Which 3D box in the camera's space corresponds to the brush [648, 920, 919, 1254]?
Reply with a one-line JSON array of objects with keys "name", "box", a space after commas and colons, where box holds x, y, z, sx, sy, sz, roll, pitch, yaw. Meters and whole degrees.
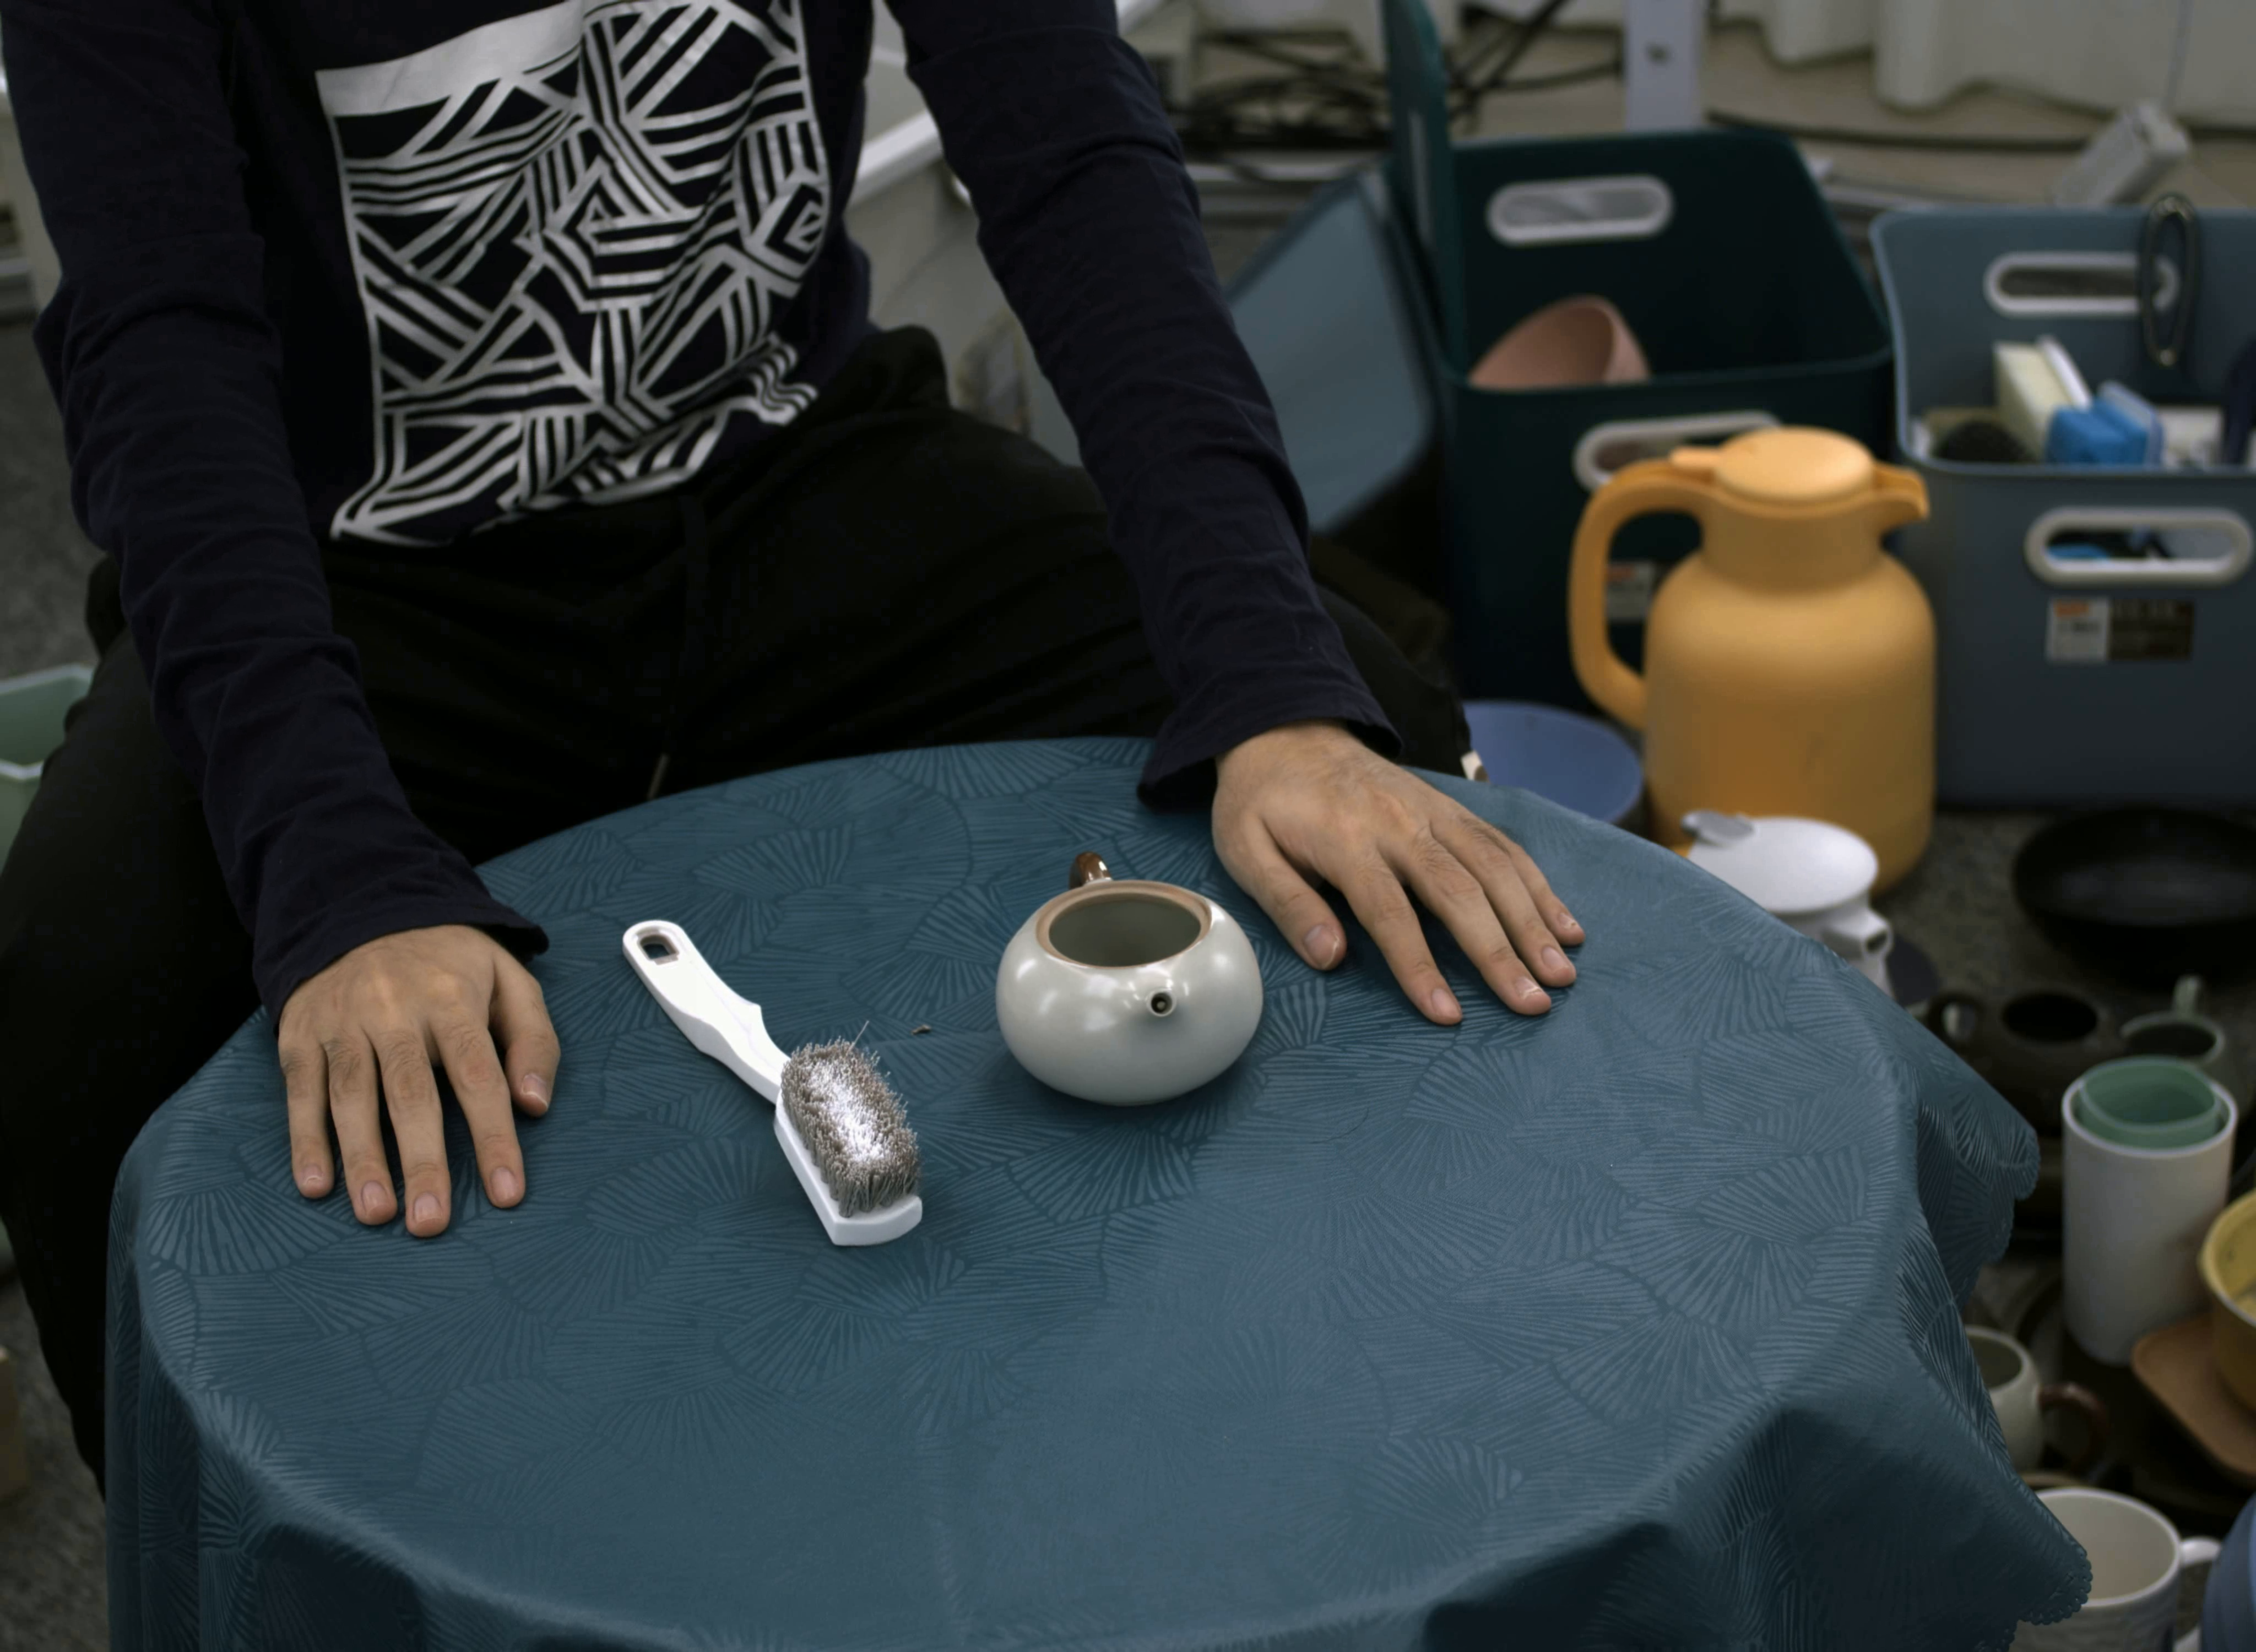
[{"name": "brush", "box": [-0.123, 0.071, 1.918, 0.034, 0.049, 0.245, -16, 30, -15]}]

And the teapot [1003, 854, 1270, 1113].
[{"name": "teapot", "box": [0.000, 0.055, 1.928, 0.092, 0.059, 0.129, -13, 30, -11]}]
